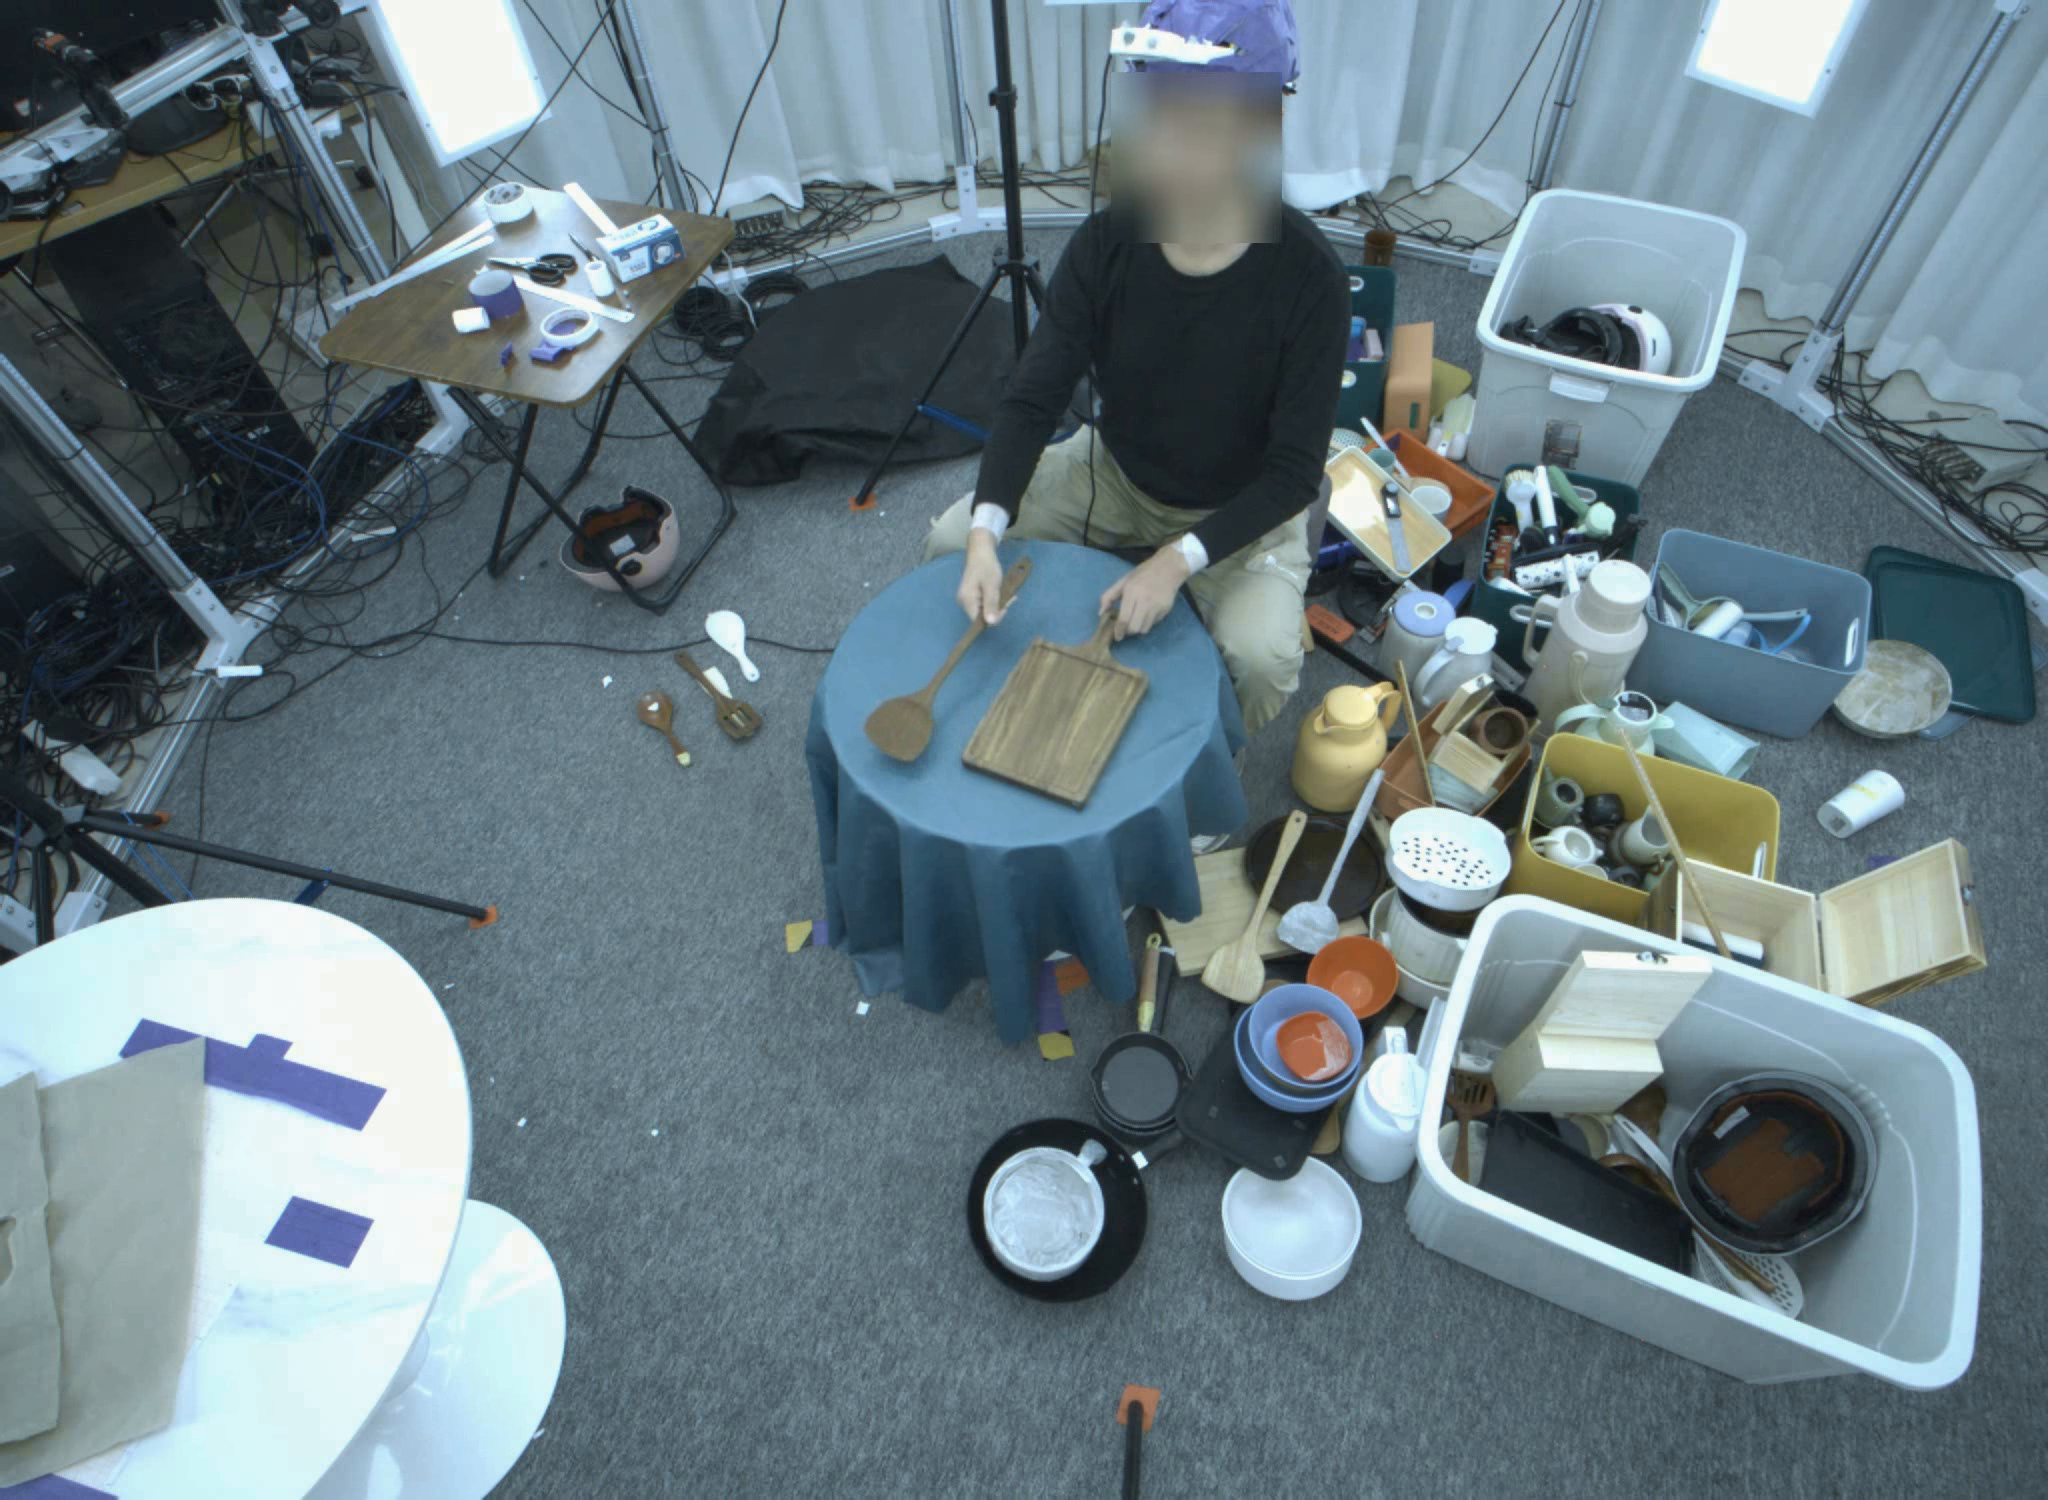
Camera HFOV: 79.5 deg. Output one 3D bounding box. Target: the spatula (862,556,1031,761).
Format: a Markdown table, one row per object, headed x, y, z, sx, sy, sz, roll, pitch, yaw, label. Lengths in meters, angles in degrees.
| x | y | z | sx | sy | sz | roll | pitch | yaw | label |
| --- | --- | --- | --- | --- | --- | --- | --- | --- | --- |
| -0.099 | -0.147 | 1.812 | 0.096 | 0.016 | 0.387 | 34 | 70 | 3 | spatula |

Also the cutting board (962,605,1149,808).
| x | y | z | sx | sy | sz | roll | pitch | yaw | label |
| --- | --- | --- | --- | --- | --- | --- | --- | --- | --- |
| 0.070 | -0.084 | 1.826 | 0.199 | 0.023 | 0.352 | 20 | 60 | 15 | cutting board |
